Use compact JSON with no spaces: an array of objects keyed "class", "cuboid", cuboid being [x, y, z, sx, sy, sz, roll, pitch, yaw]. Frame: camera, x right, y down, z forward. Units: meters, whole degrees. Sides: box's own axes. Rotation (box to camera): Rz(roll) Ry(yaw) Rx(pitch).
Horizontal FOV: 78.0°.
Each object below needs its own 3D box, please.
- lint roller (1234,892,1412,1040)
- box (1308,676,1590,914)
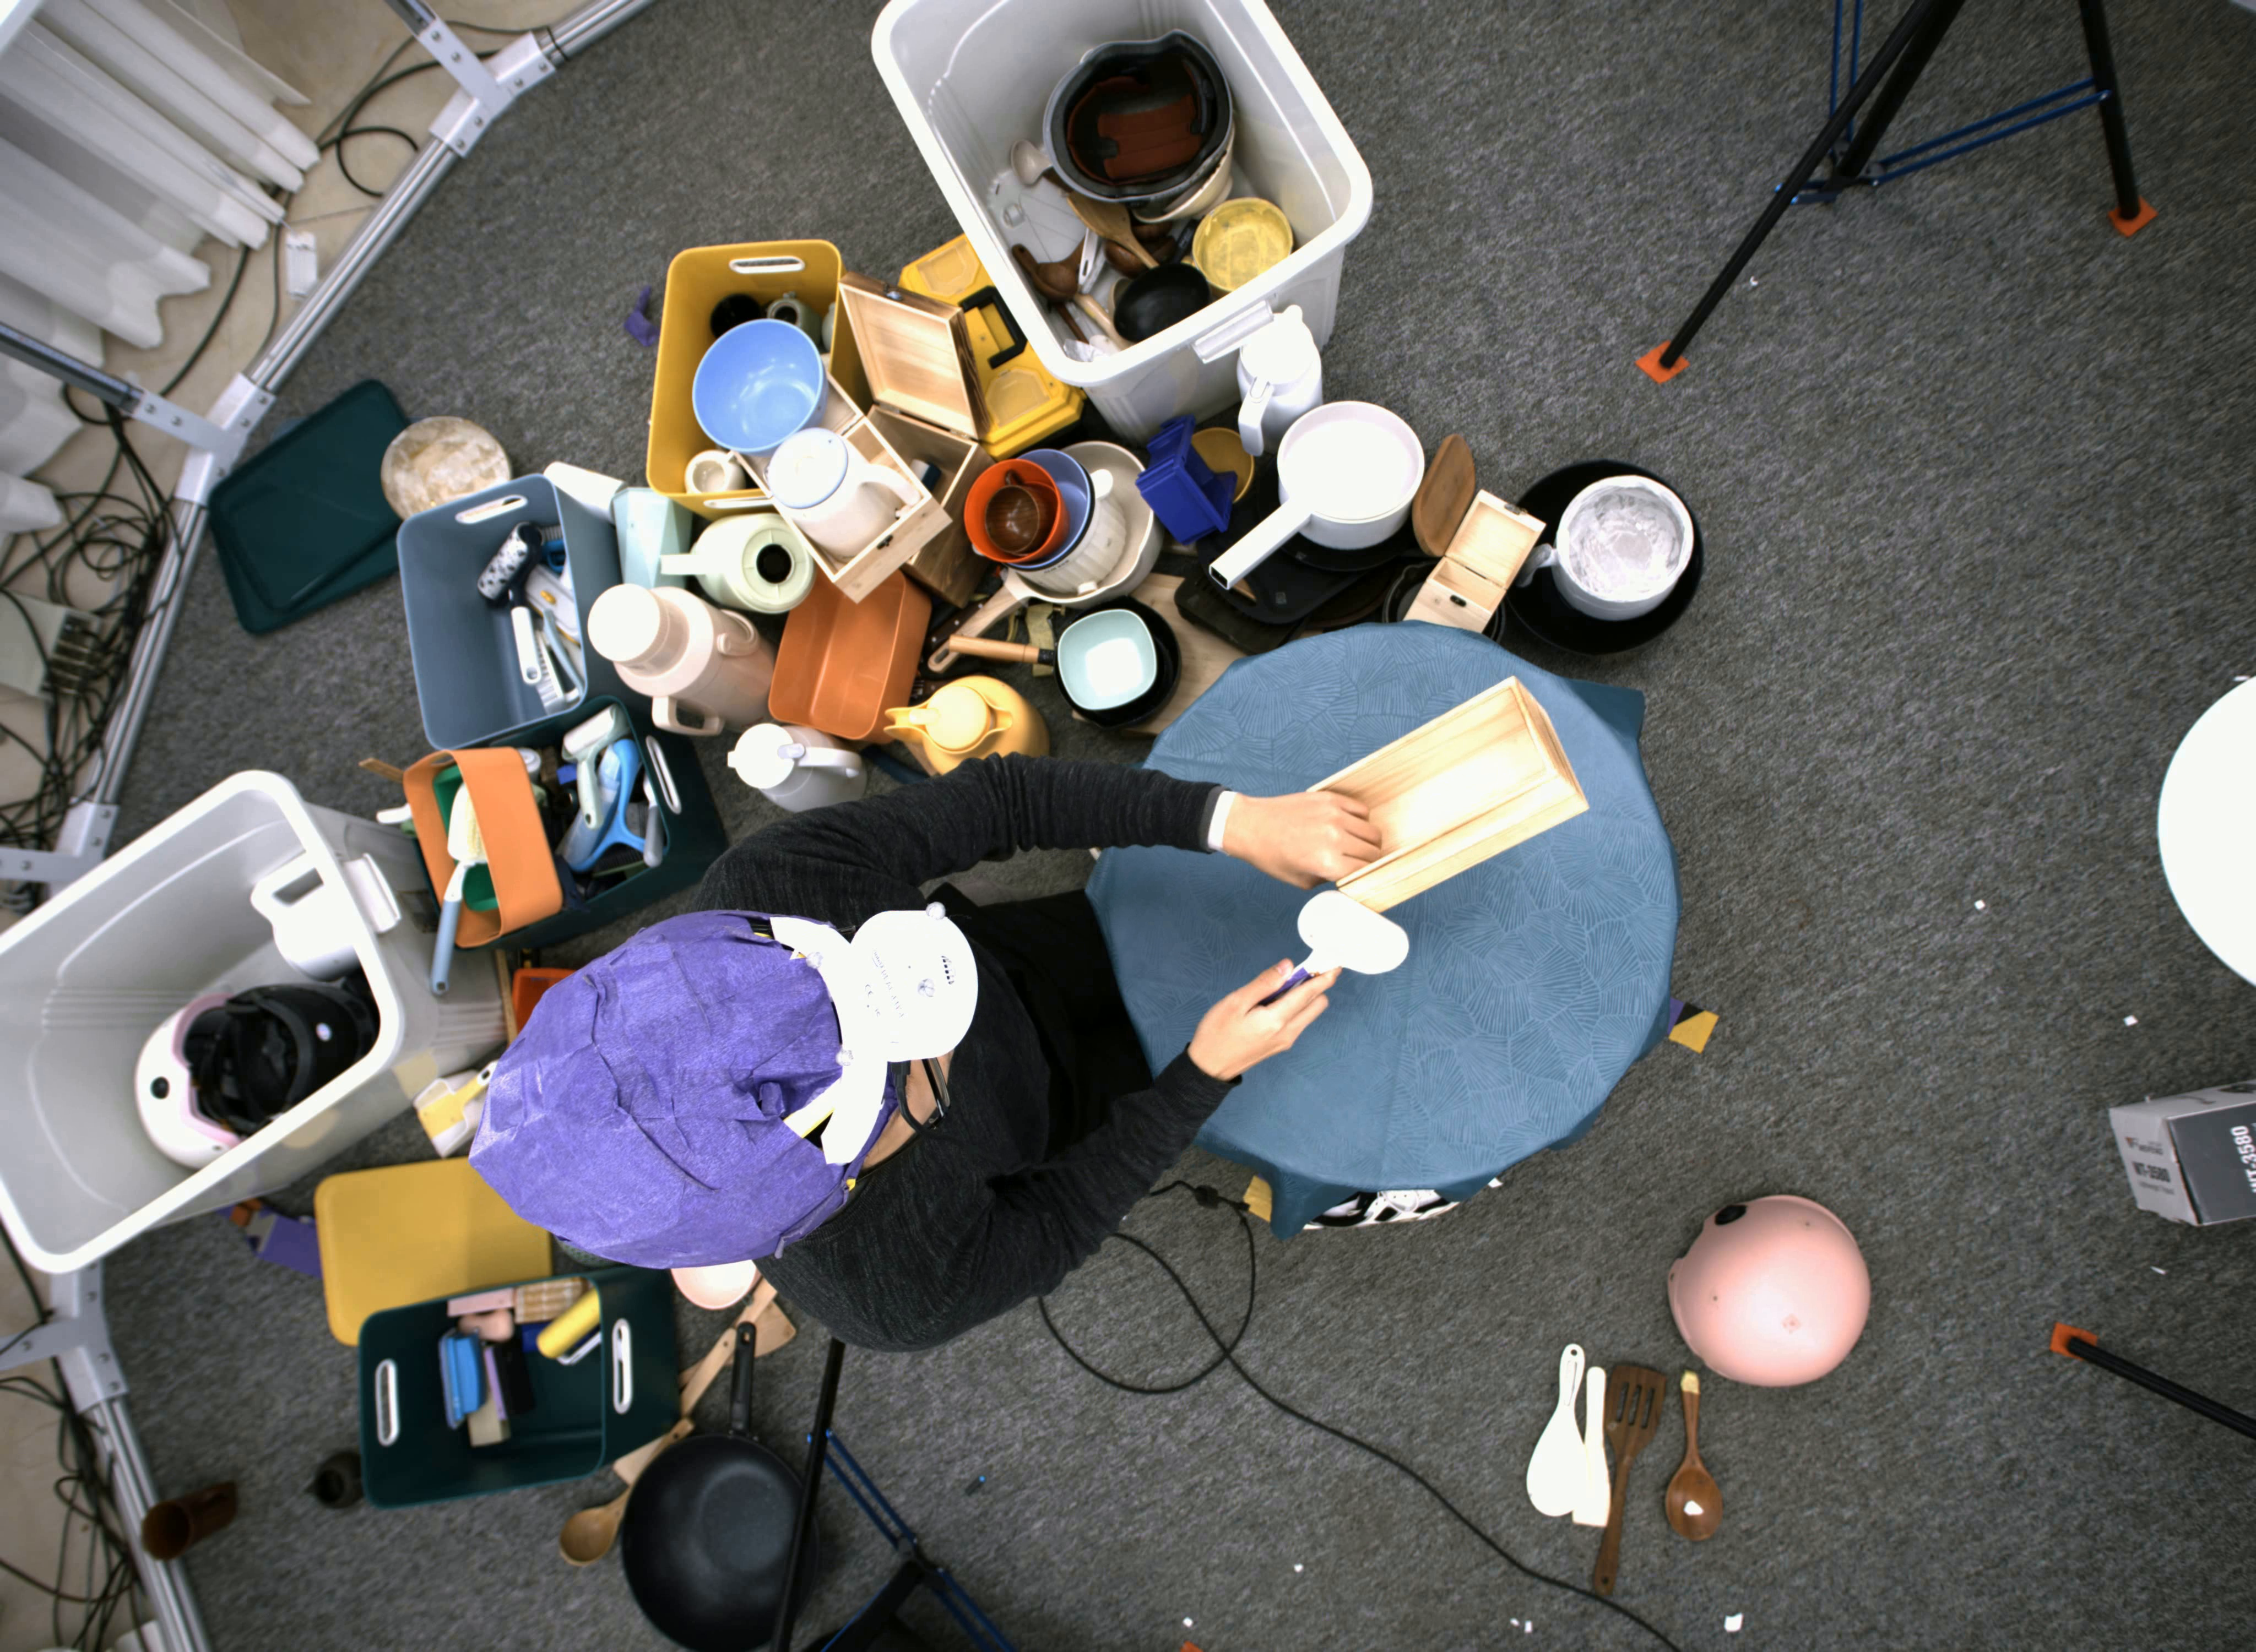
[{"class":"lint roller","cuboid":[0.166,0.141,1.259,0.183,0.133,0.049,-48,47,15]},{"class":"box","cuboid":[0.278,-0.025,1.203,0.215,0.080,0.105,-31,55,26]}]
